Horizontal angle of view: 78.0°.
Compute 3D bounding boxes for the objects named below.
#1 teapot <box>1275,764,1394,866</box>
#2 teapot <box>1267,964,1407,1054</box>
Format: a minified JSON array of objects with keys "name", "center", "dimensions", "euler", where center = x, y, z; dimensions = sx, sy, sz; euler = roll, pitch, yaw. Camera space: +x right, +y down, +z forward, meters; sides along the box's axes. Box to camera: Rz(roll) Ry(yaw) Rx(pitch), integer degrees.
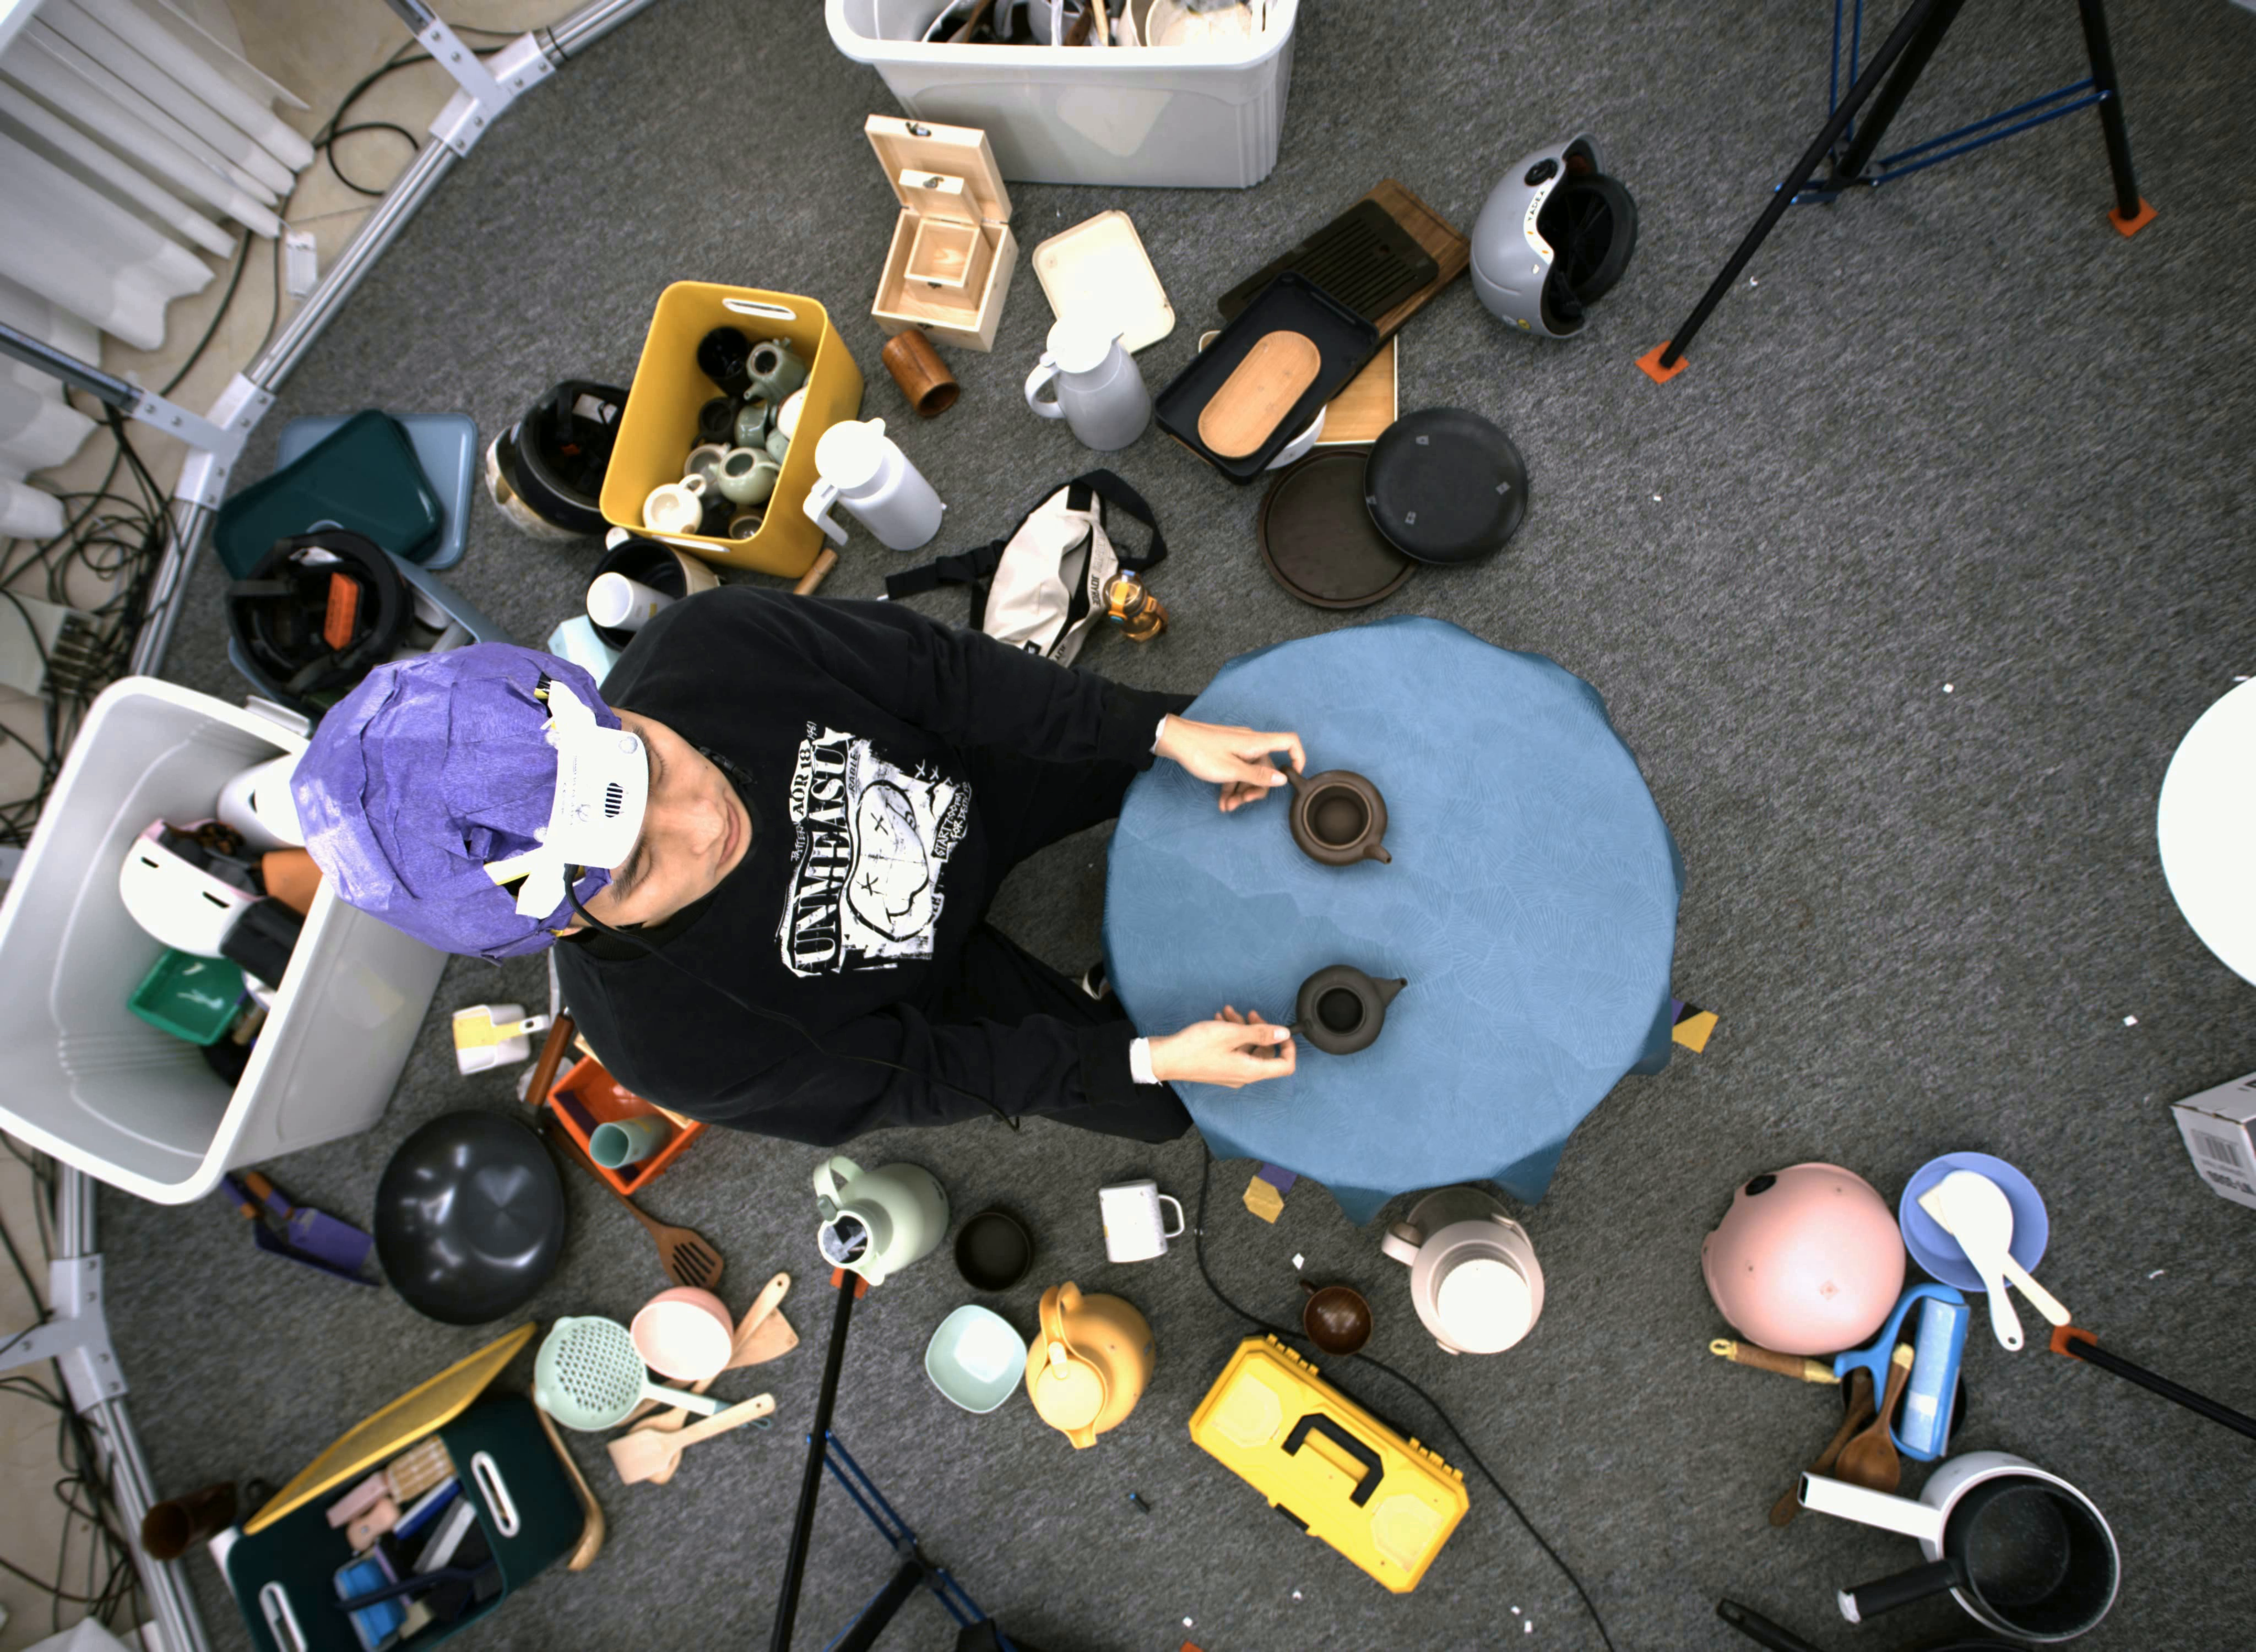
[{"name":"teapot","center":[0.216,-0.013,1.448],"dimensions":[0.153,0.054,0.103],"euler":[37,92,10]},{"name":"teapot","center":[0.217,0.190,1.434],"dimensions":[0.155,0.064,0.091],"euler":[-23,80,8]}]
